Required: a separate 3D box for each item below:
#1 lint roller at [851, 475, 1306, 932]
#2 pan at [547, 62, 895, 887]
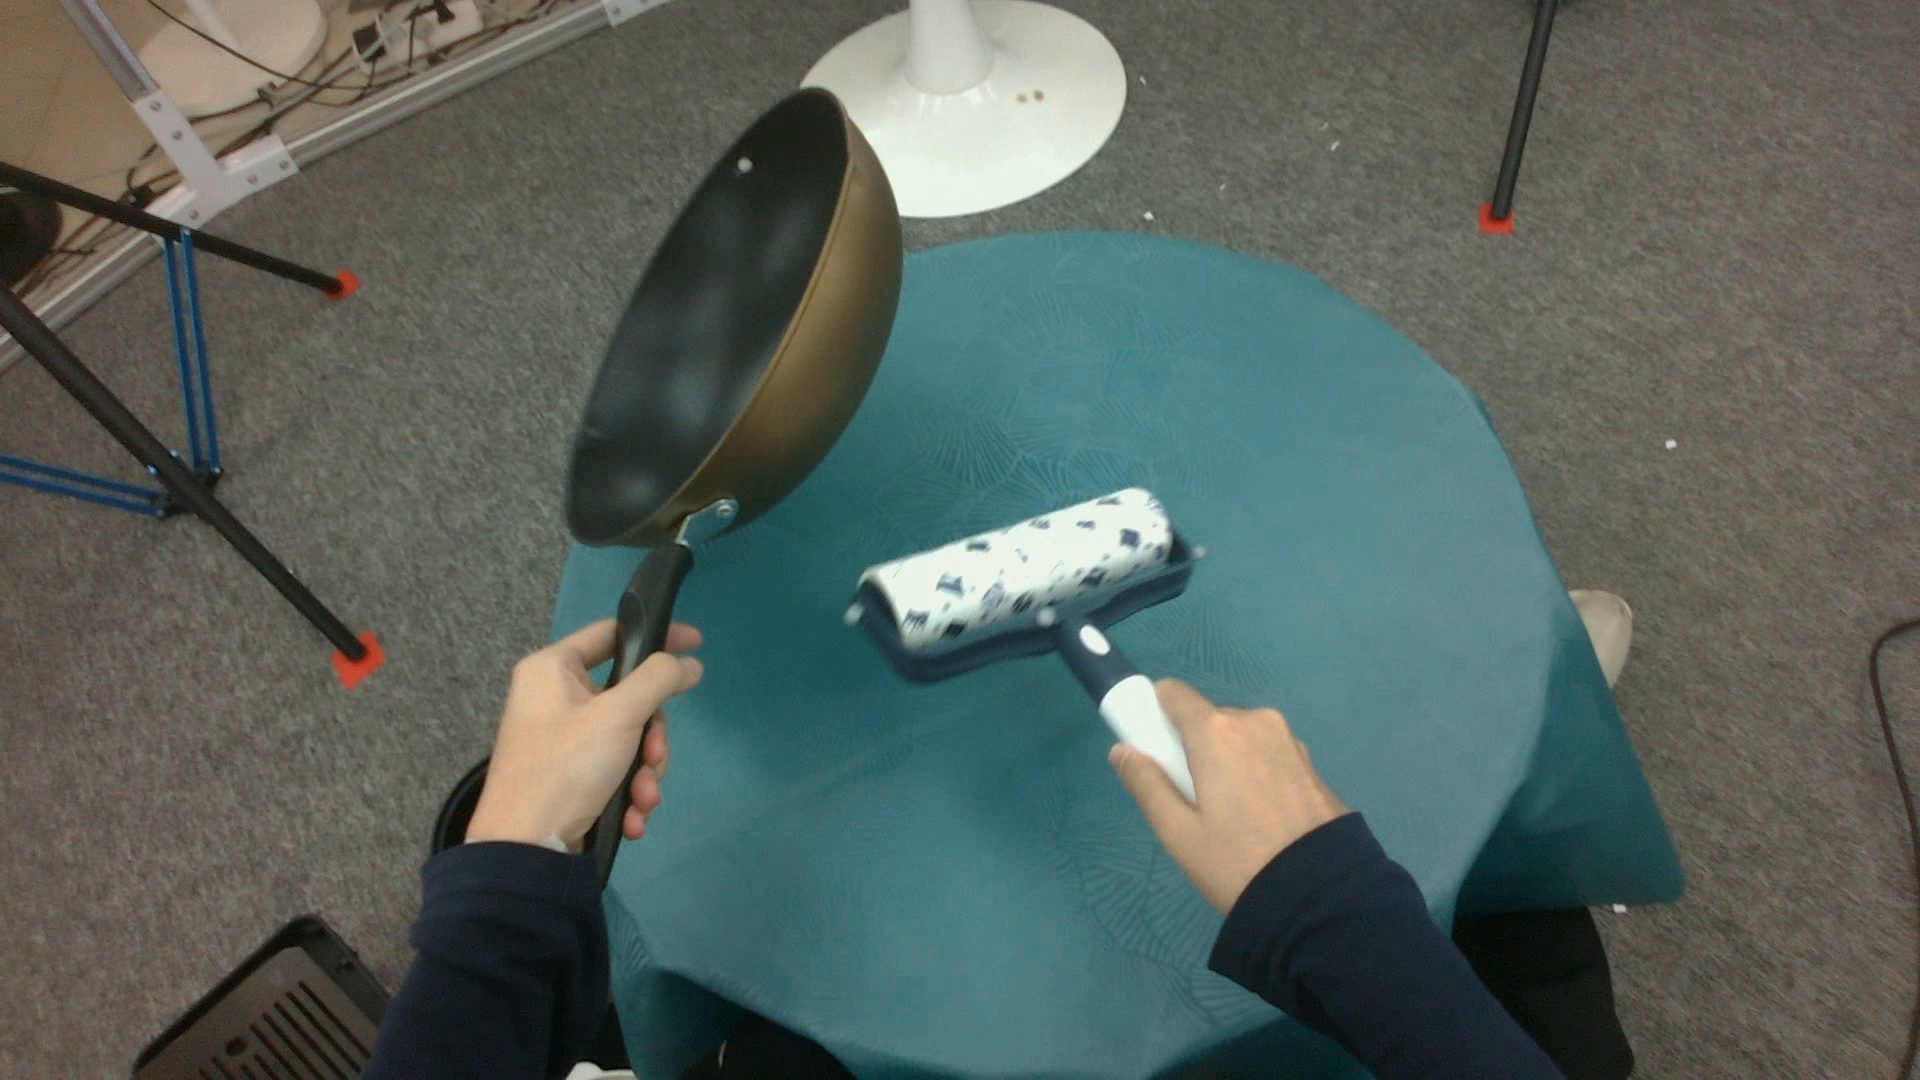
[{"bbox_3d":[0.080,0.071,0.638,0.177,0.050,0.247,-17,49,-27],"label":"lint roller"},{"bbox_3d":[-0.126,-0.043,0.717,0.287,0.087,0.465,-29,46,39],"label":"pan"}]
